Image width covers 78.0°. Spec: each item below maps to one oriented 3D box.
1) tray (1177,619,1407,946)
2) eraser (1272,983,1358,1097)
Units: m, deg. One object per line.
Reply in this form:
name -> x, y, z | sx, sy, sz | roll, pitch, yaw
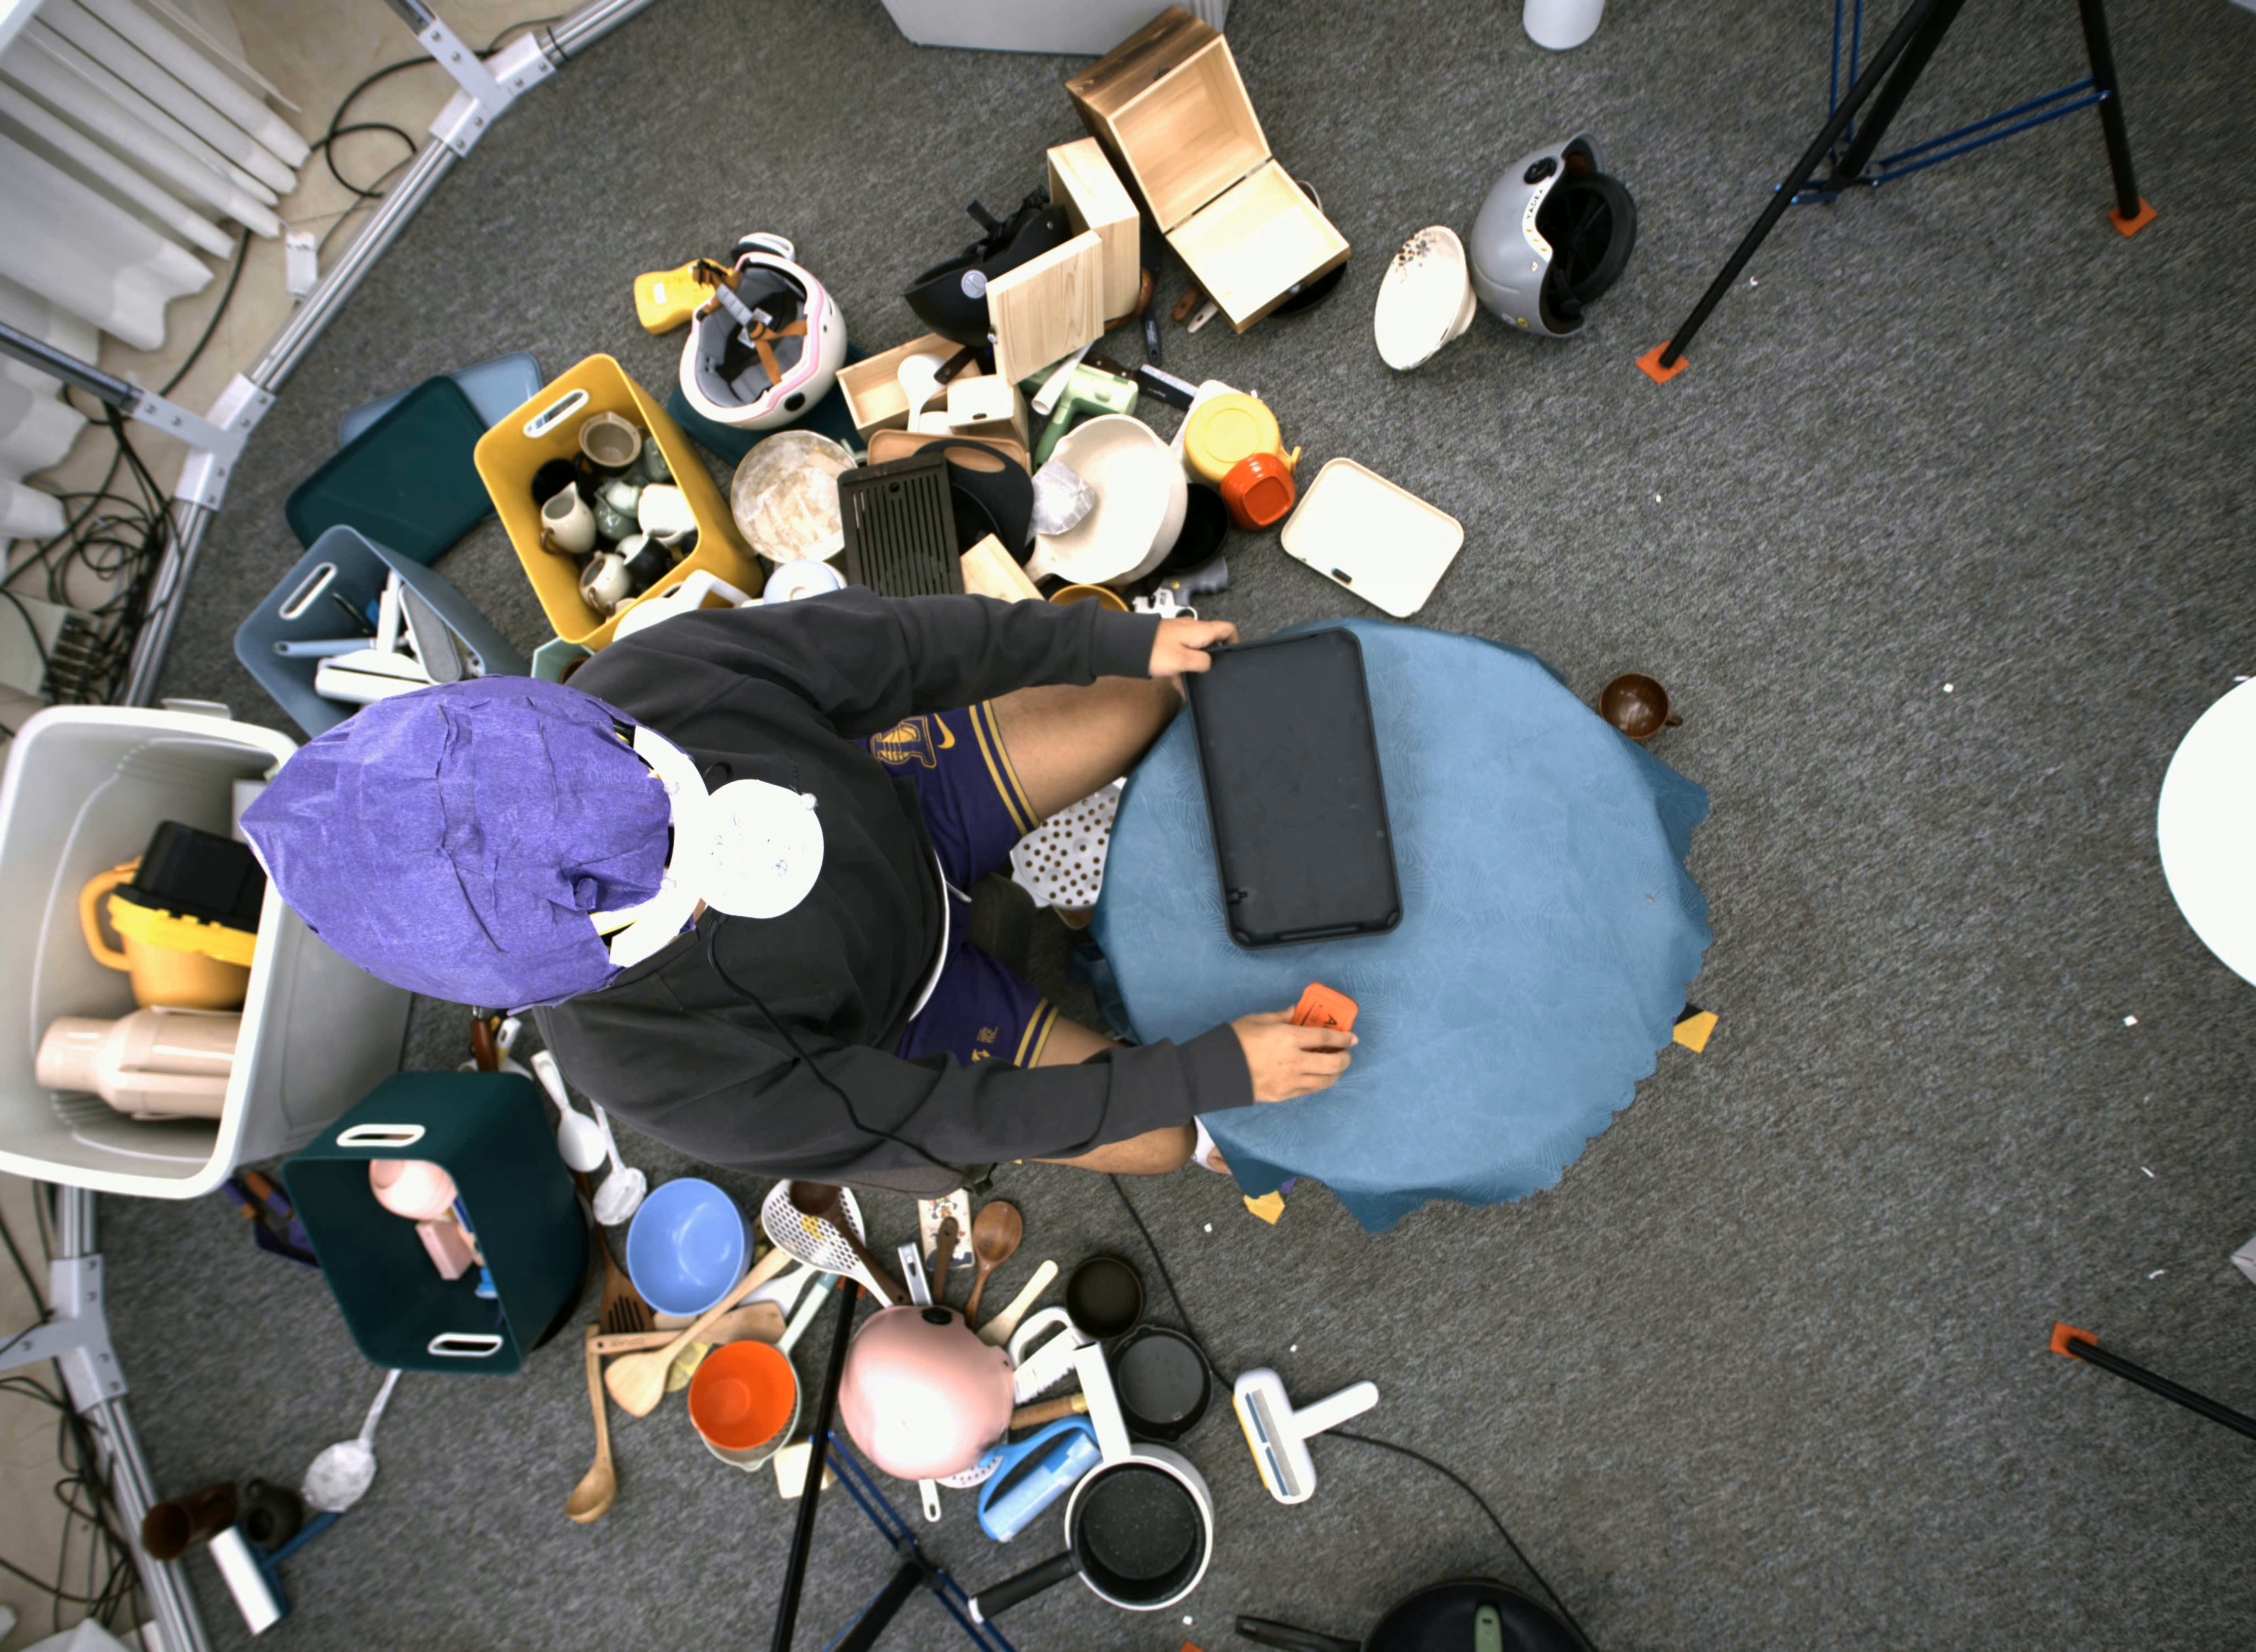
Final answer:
tray -> 0.170, -0.043, 1.414 | 0.185, 0.036, 0.320 | -9, 102, 16
eraser -> 0.191, 0.218, 1.422 | 0.059, 0.022, 0.109 | 26, 108, 22
